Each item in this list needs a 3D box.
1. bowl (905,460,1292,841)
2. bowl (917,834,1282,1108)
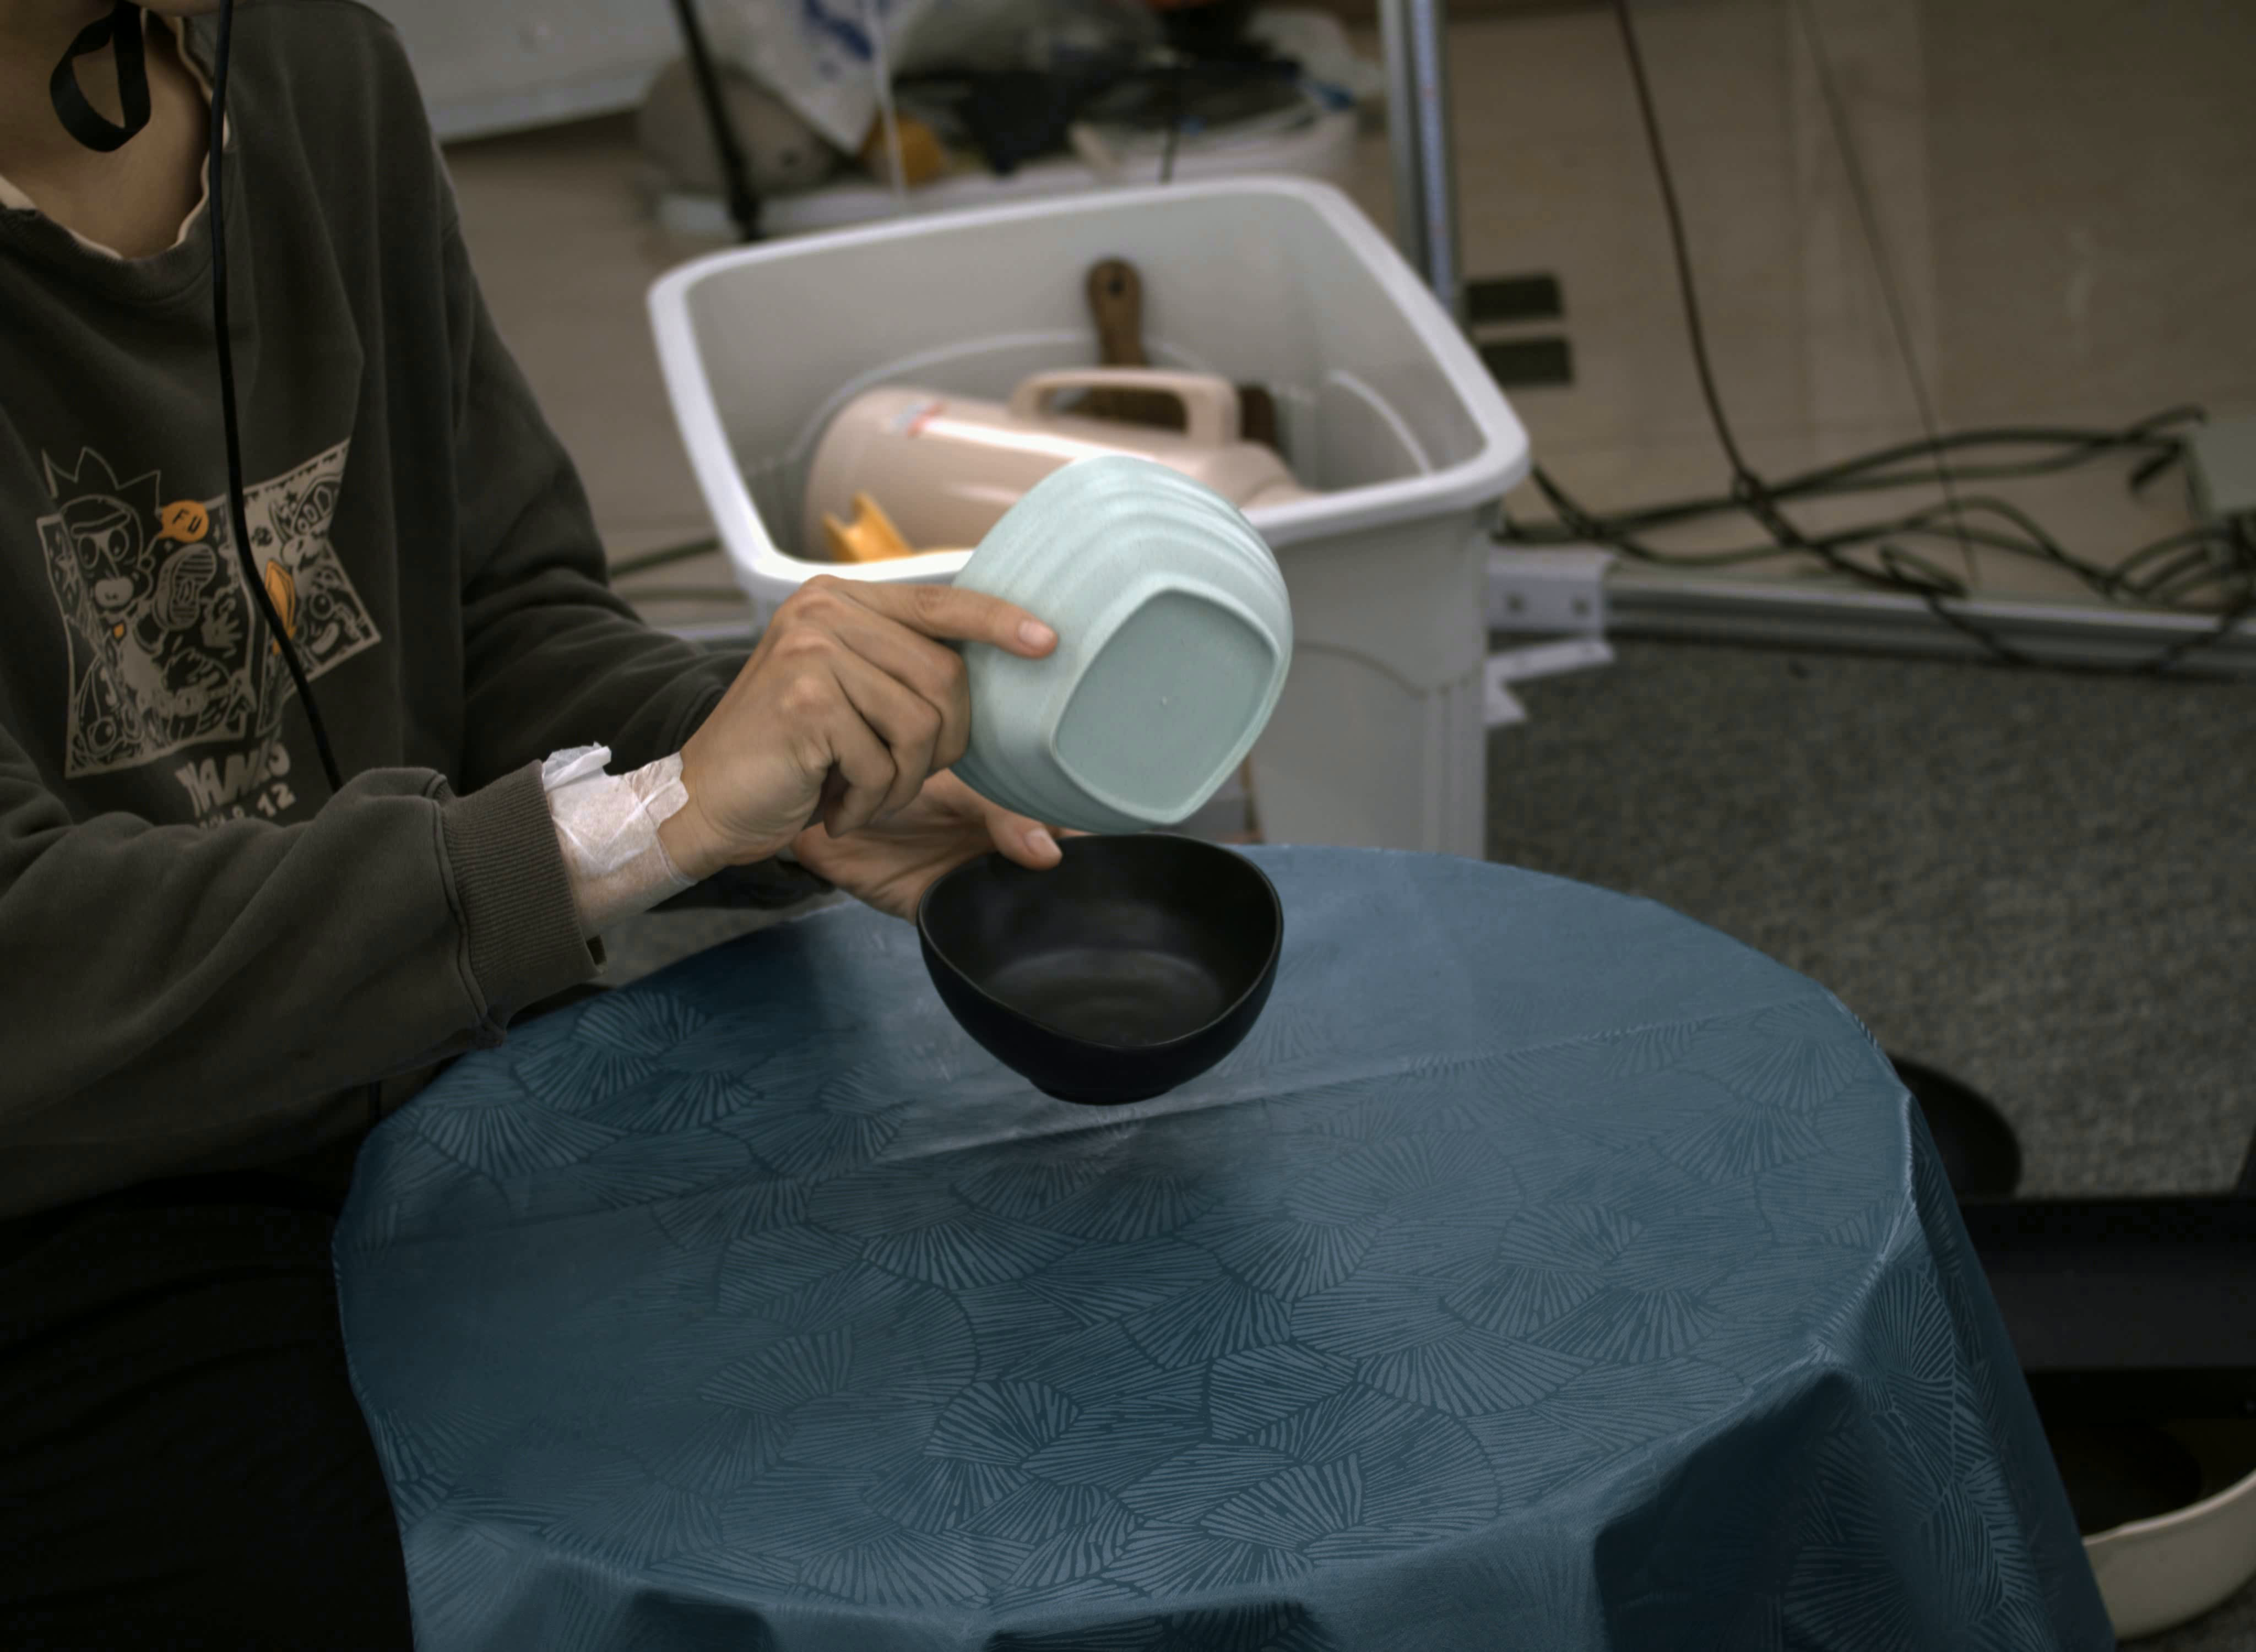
[{"bbox_3d":[0.000,-0.052,2.027,0.151,0.154,0.058,-16,35,-21],"label":"bowl"},{"bbox_3d":[-0.008,0.063,2.161,0.137,0.068,0.168,-11,28,-14],"label":"bowl"}]
